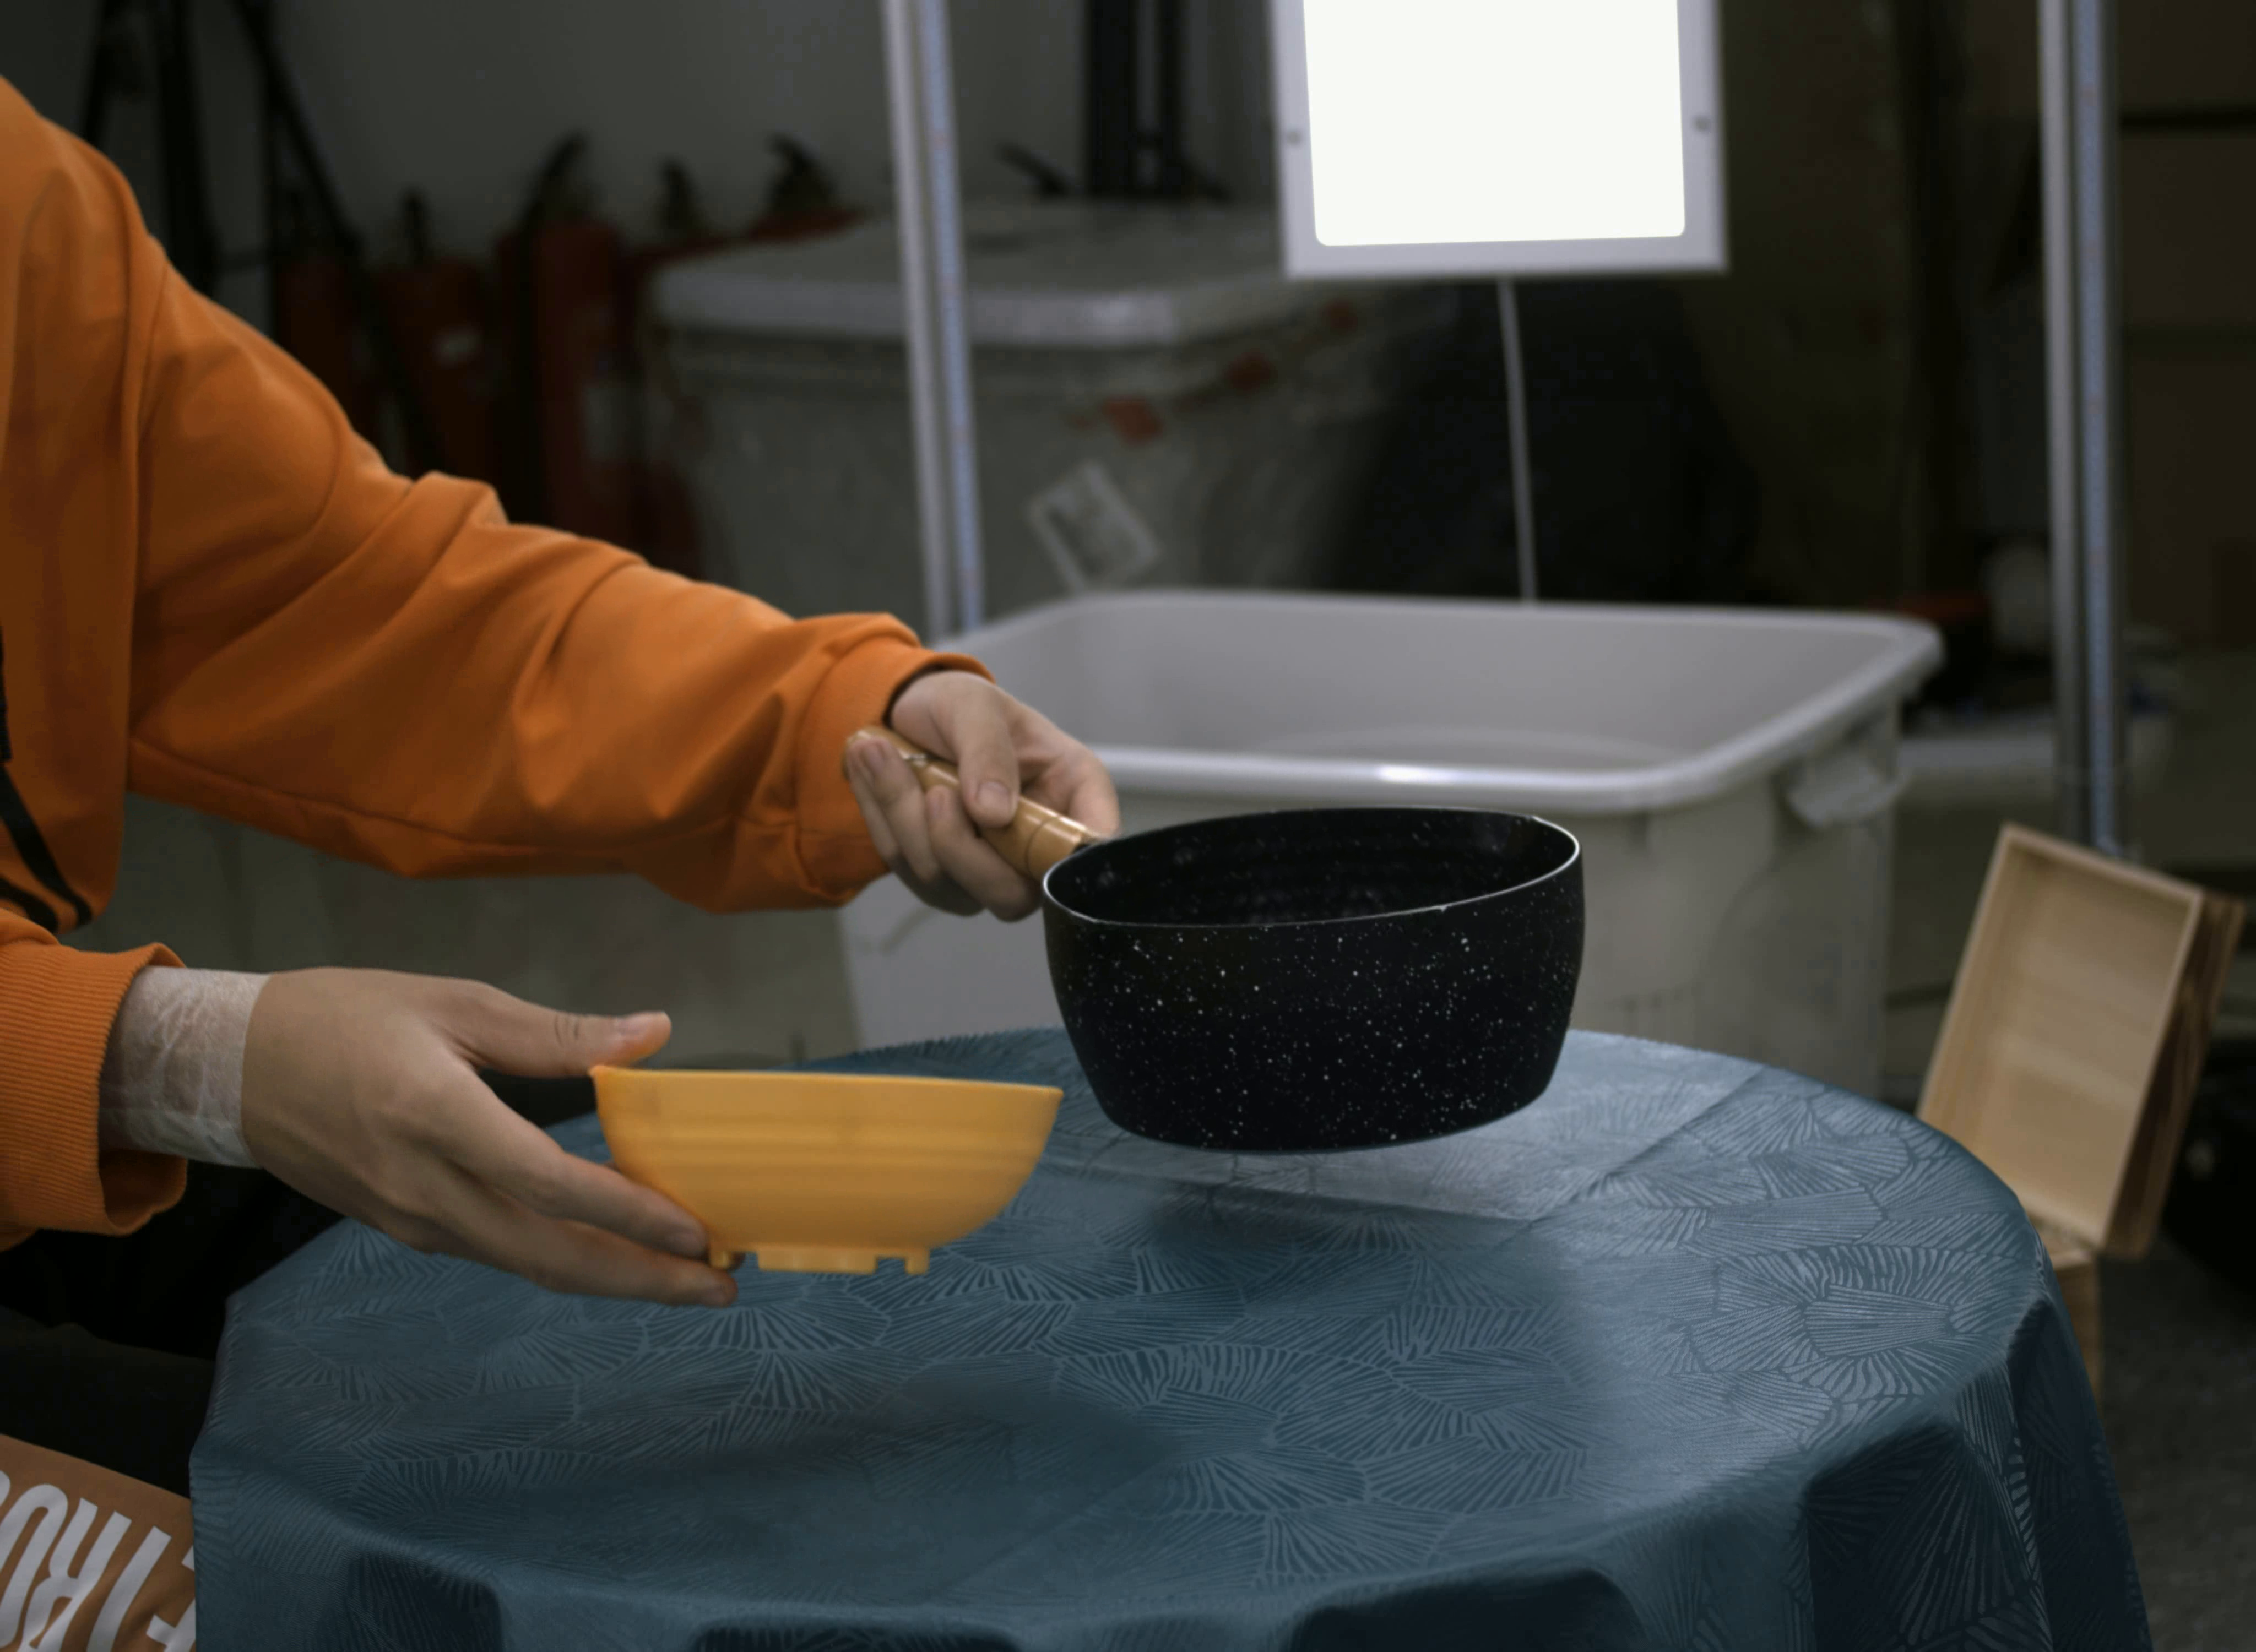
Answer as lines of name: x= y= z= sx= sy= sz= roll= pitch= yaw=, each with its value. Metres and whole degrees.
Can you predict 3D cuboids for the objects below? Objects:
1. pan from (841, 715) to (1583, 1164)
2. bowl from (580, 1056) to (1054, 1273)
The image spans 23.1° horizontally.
pan: x=0.011 y=0.033 z=1.922 sx=0.202 sy=0.108 sz=0.350 roll=-16 pitch=17 yaw=-38
bowl: x=-0.096 y=0.104 z=1.671 sx=0.145 sy=0.060 sz=0.145 roll=3 pitch=-5 yaw=-1
